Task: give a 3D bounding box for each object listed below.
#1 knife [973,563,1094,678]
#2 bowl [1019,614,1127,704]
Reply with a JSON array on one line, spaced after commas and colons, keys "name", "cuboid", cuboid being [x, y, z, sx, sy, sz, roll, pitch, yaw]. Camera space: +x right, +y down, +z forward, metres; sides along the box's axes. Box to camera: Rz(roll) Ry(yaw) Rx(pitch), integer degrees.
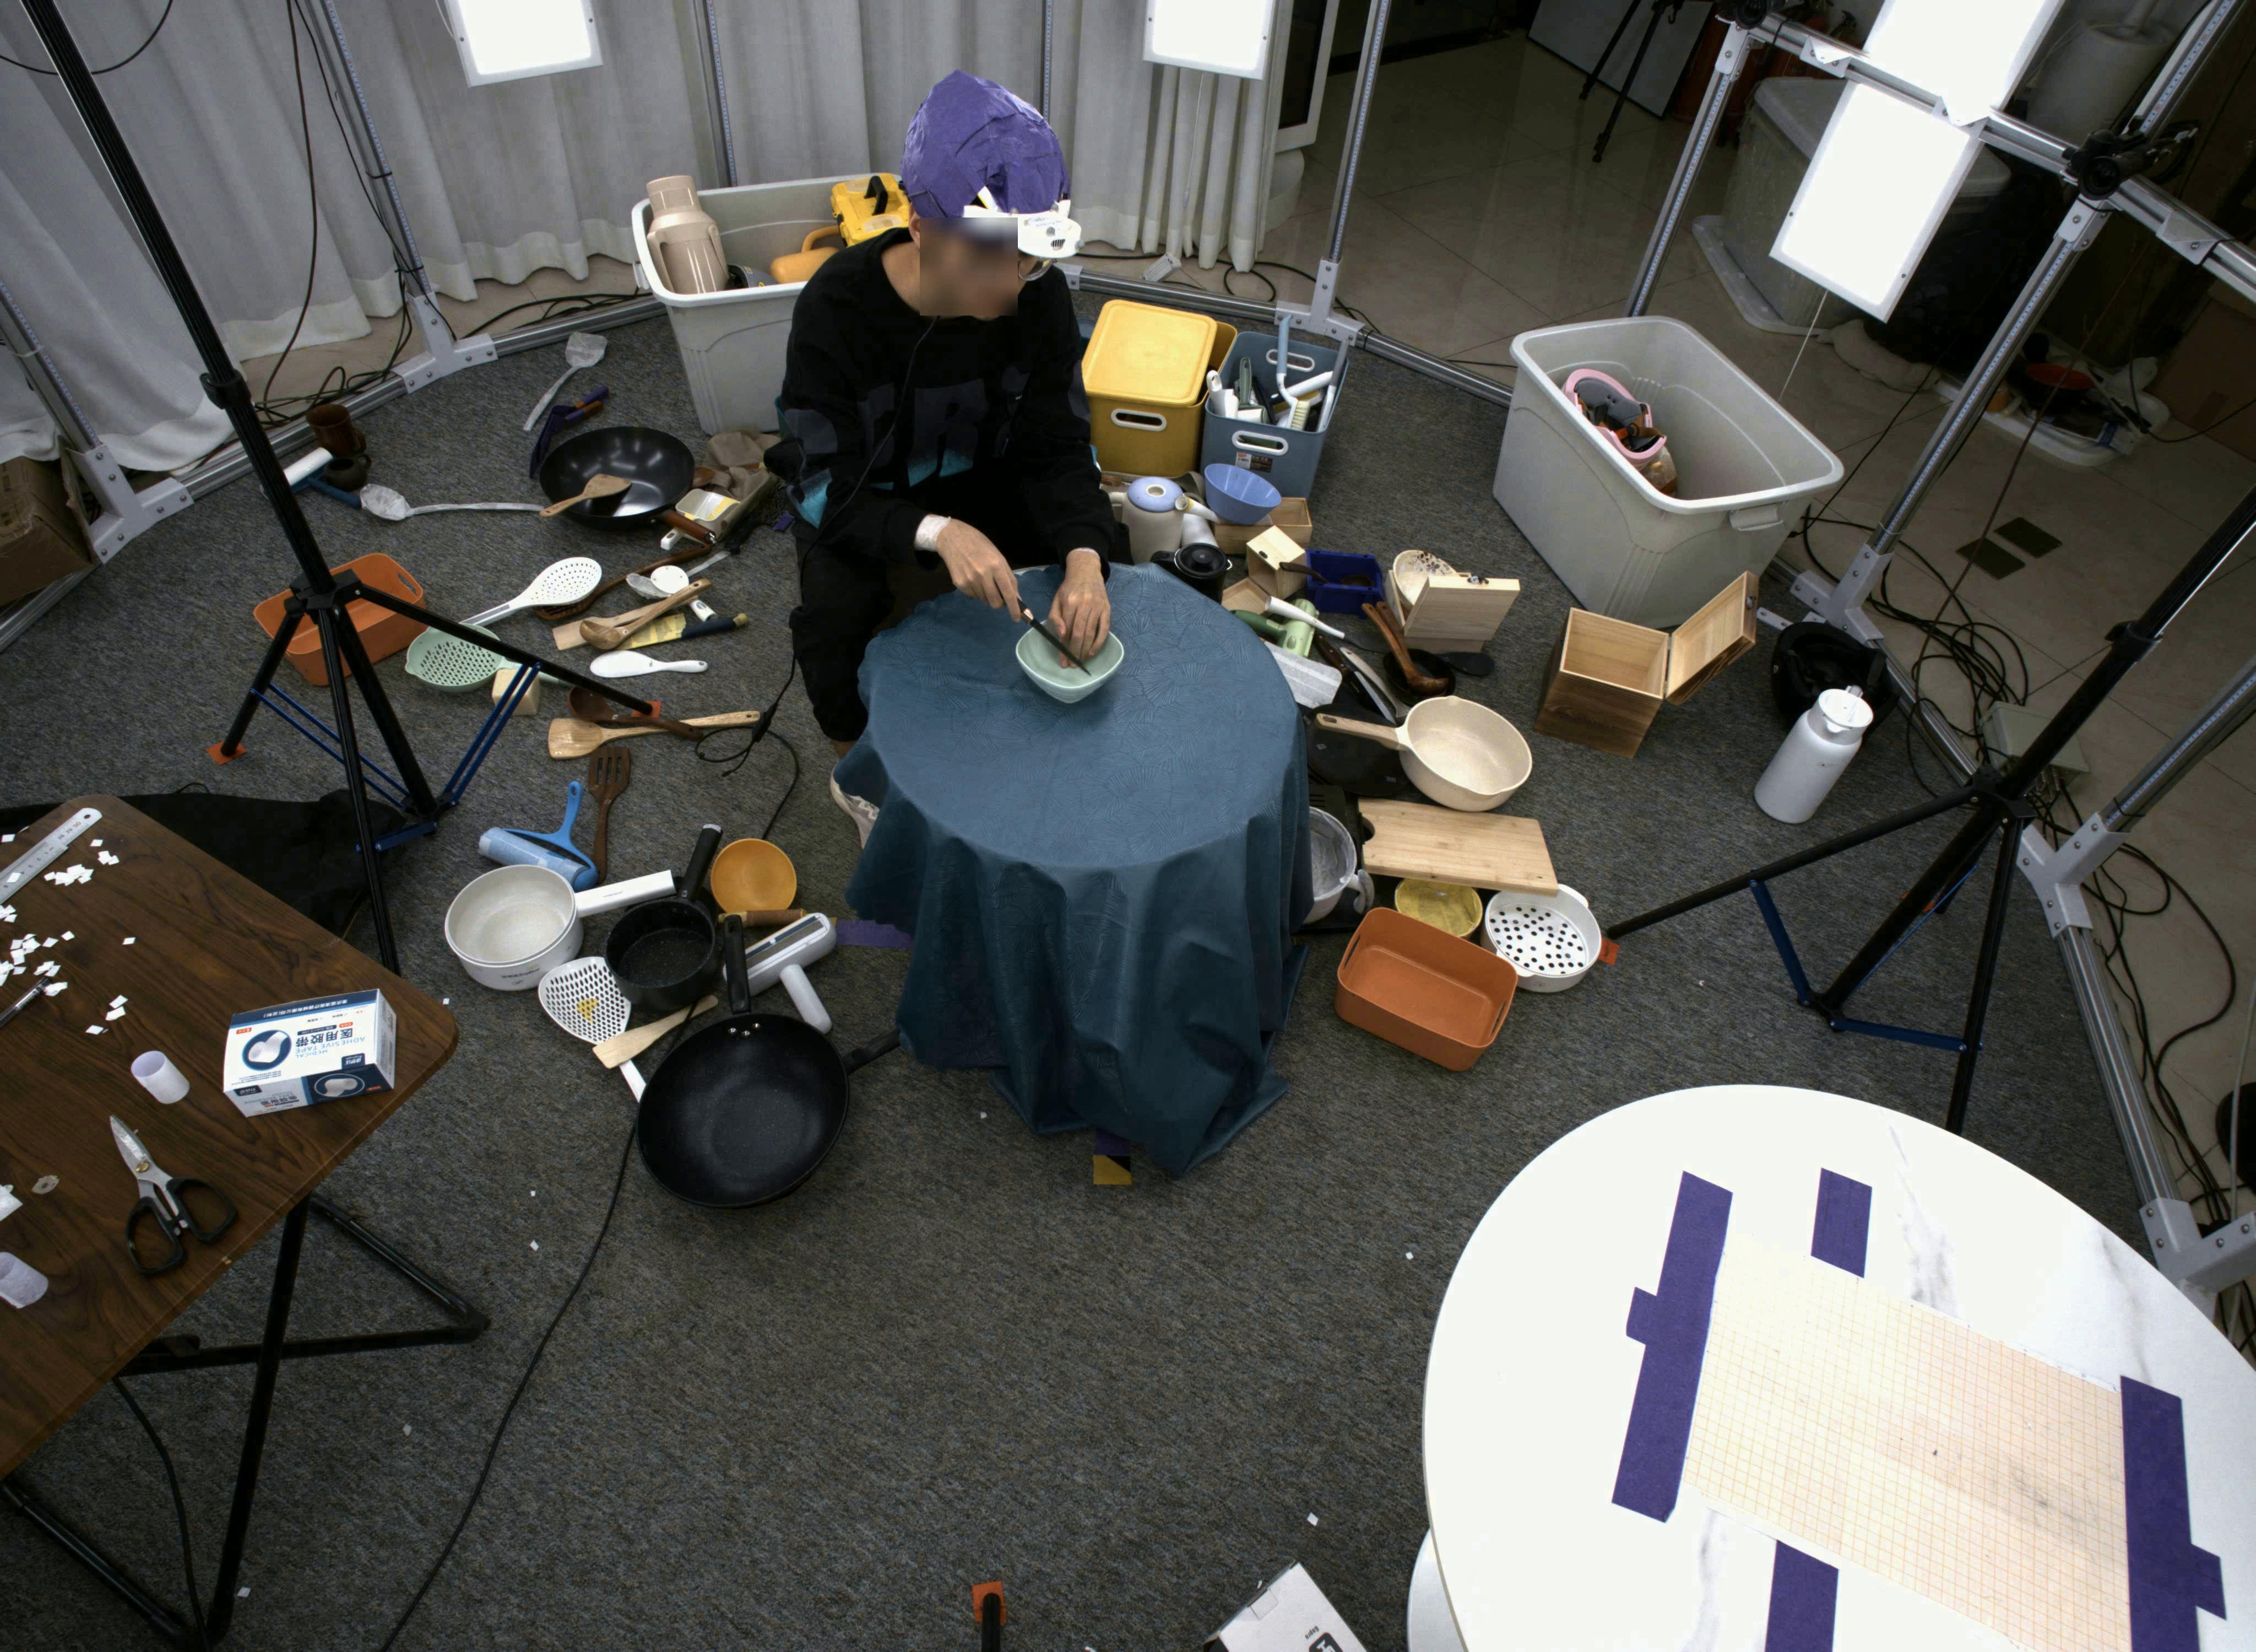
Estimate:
[{"name": "knife", "cuboid": [-0.129, -0.286, 1.799, 0.224, 0.026, 0.017, 42, 59, -6]}, {"name": "bowl", "cuboid": [-0.078, -0.229, 1.827, 0.151, 0.057, 0.155, 1, 50, -2]}]
